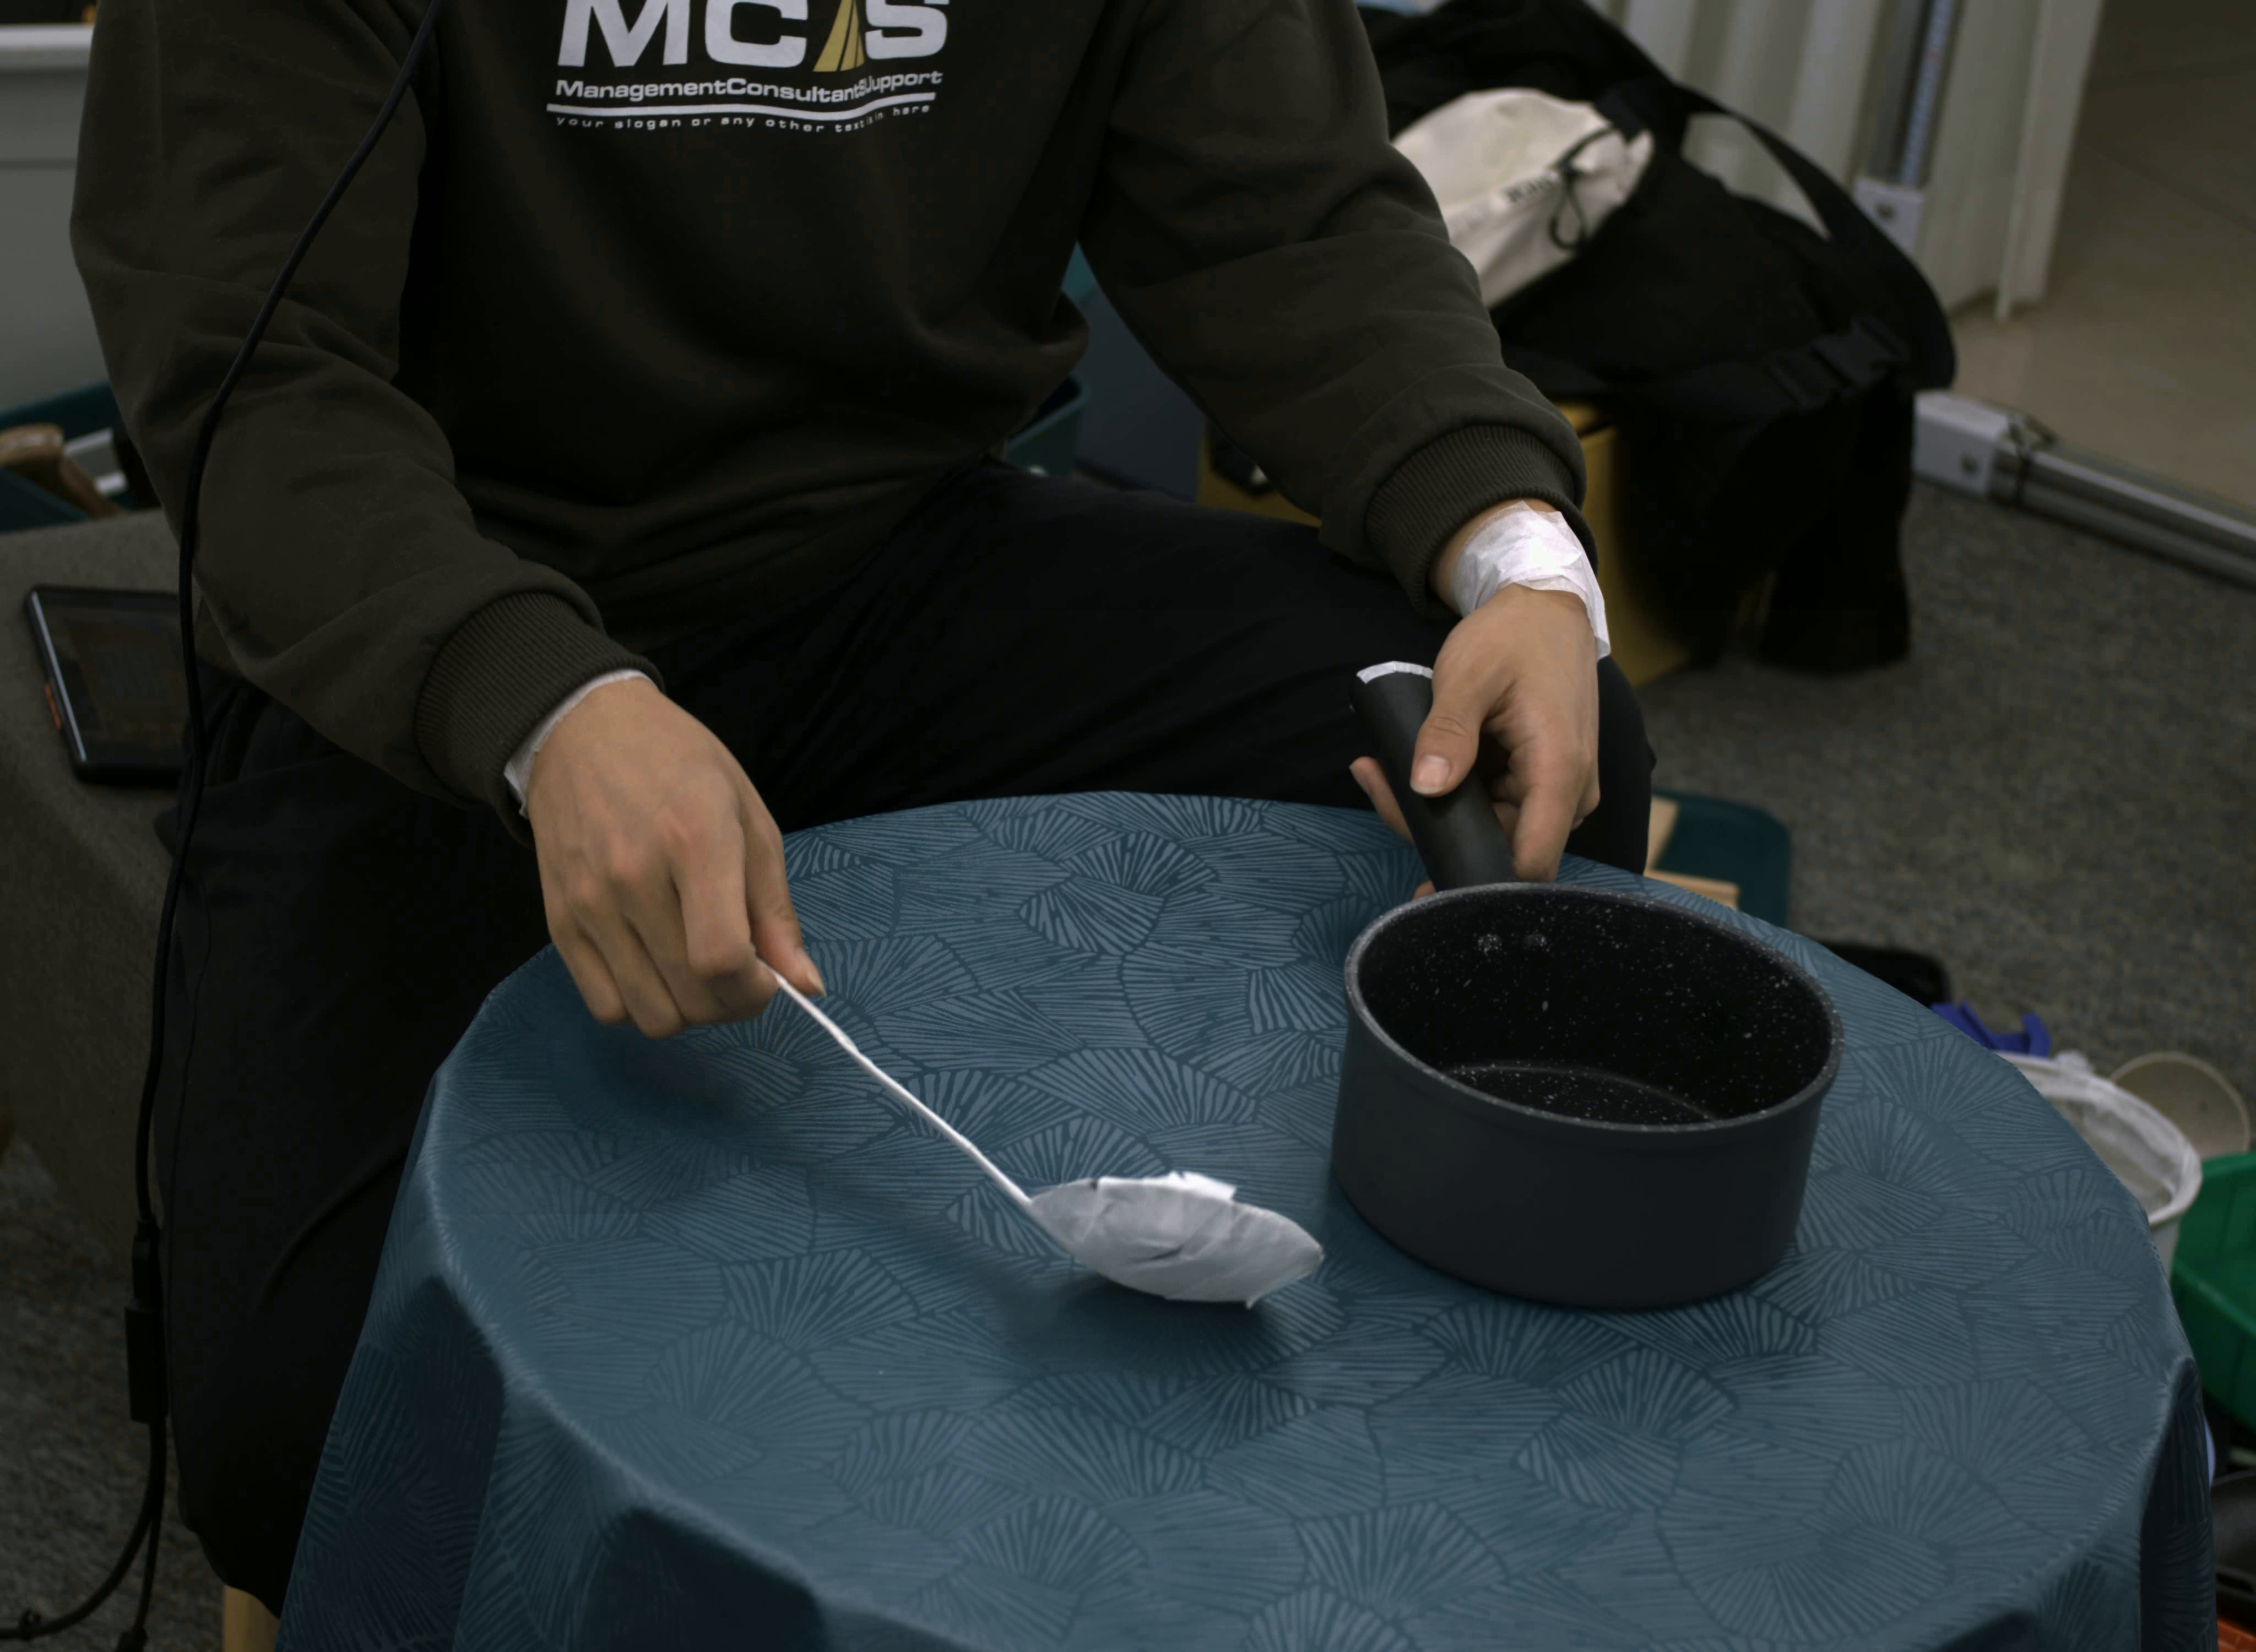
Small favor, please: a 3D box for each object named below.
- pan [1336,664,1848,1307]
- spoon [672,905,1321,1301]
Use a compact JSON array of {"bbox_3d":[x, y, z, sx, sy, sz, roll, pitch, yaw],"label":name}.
[{"bbox_3d":[0.139,0.053,1.885,0.171,0.086,0.331,1,28,-13],"label":"pan"},{"bbox_3d":[-0.048,0.082,1.778,0.059,0.100,0.280,-47,54,-7],"label":"spoon"}]
